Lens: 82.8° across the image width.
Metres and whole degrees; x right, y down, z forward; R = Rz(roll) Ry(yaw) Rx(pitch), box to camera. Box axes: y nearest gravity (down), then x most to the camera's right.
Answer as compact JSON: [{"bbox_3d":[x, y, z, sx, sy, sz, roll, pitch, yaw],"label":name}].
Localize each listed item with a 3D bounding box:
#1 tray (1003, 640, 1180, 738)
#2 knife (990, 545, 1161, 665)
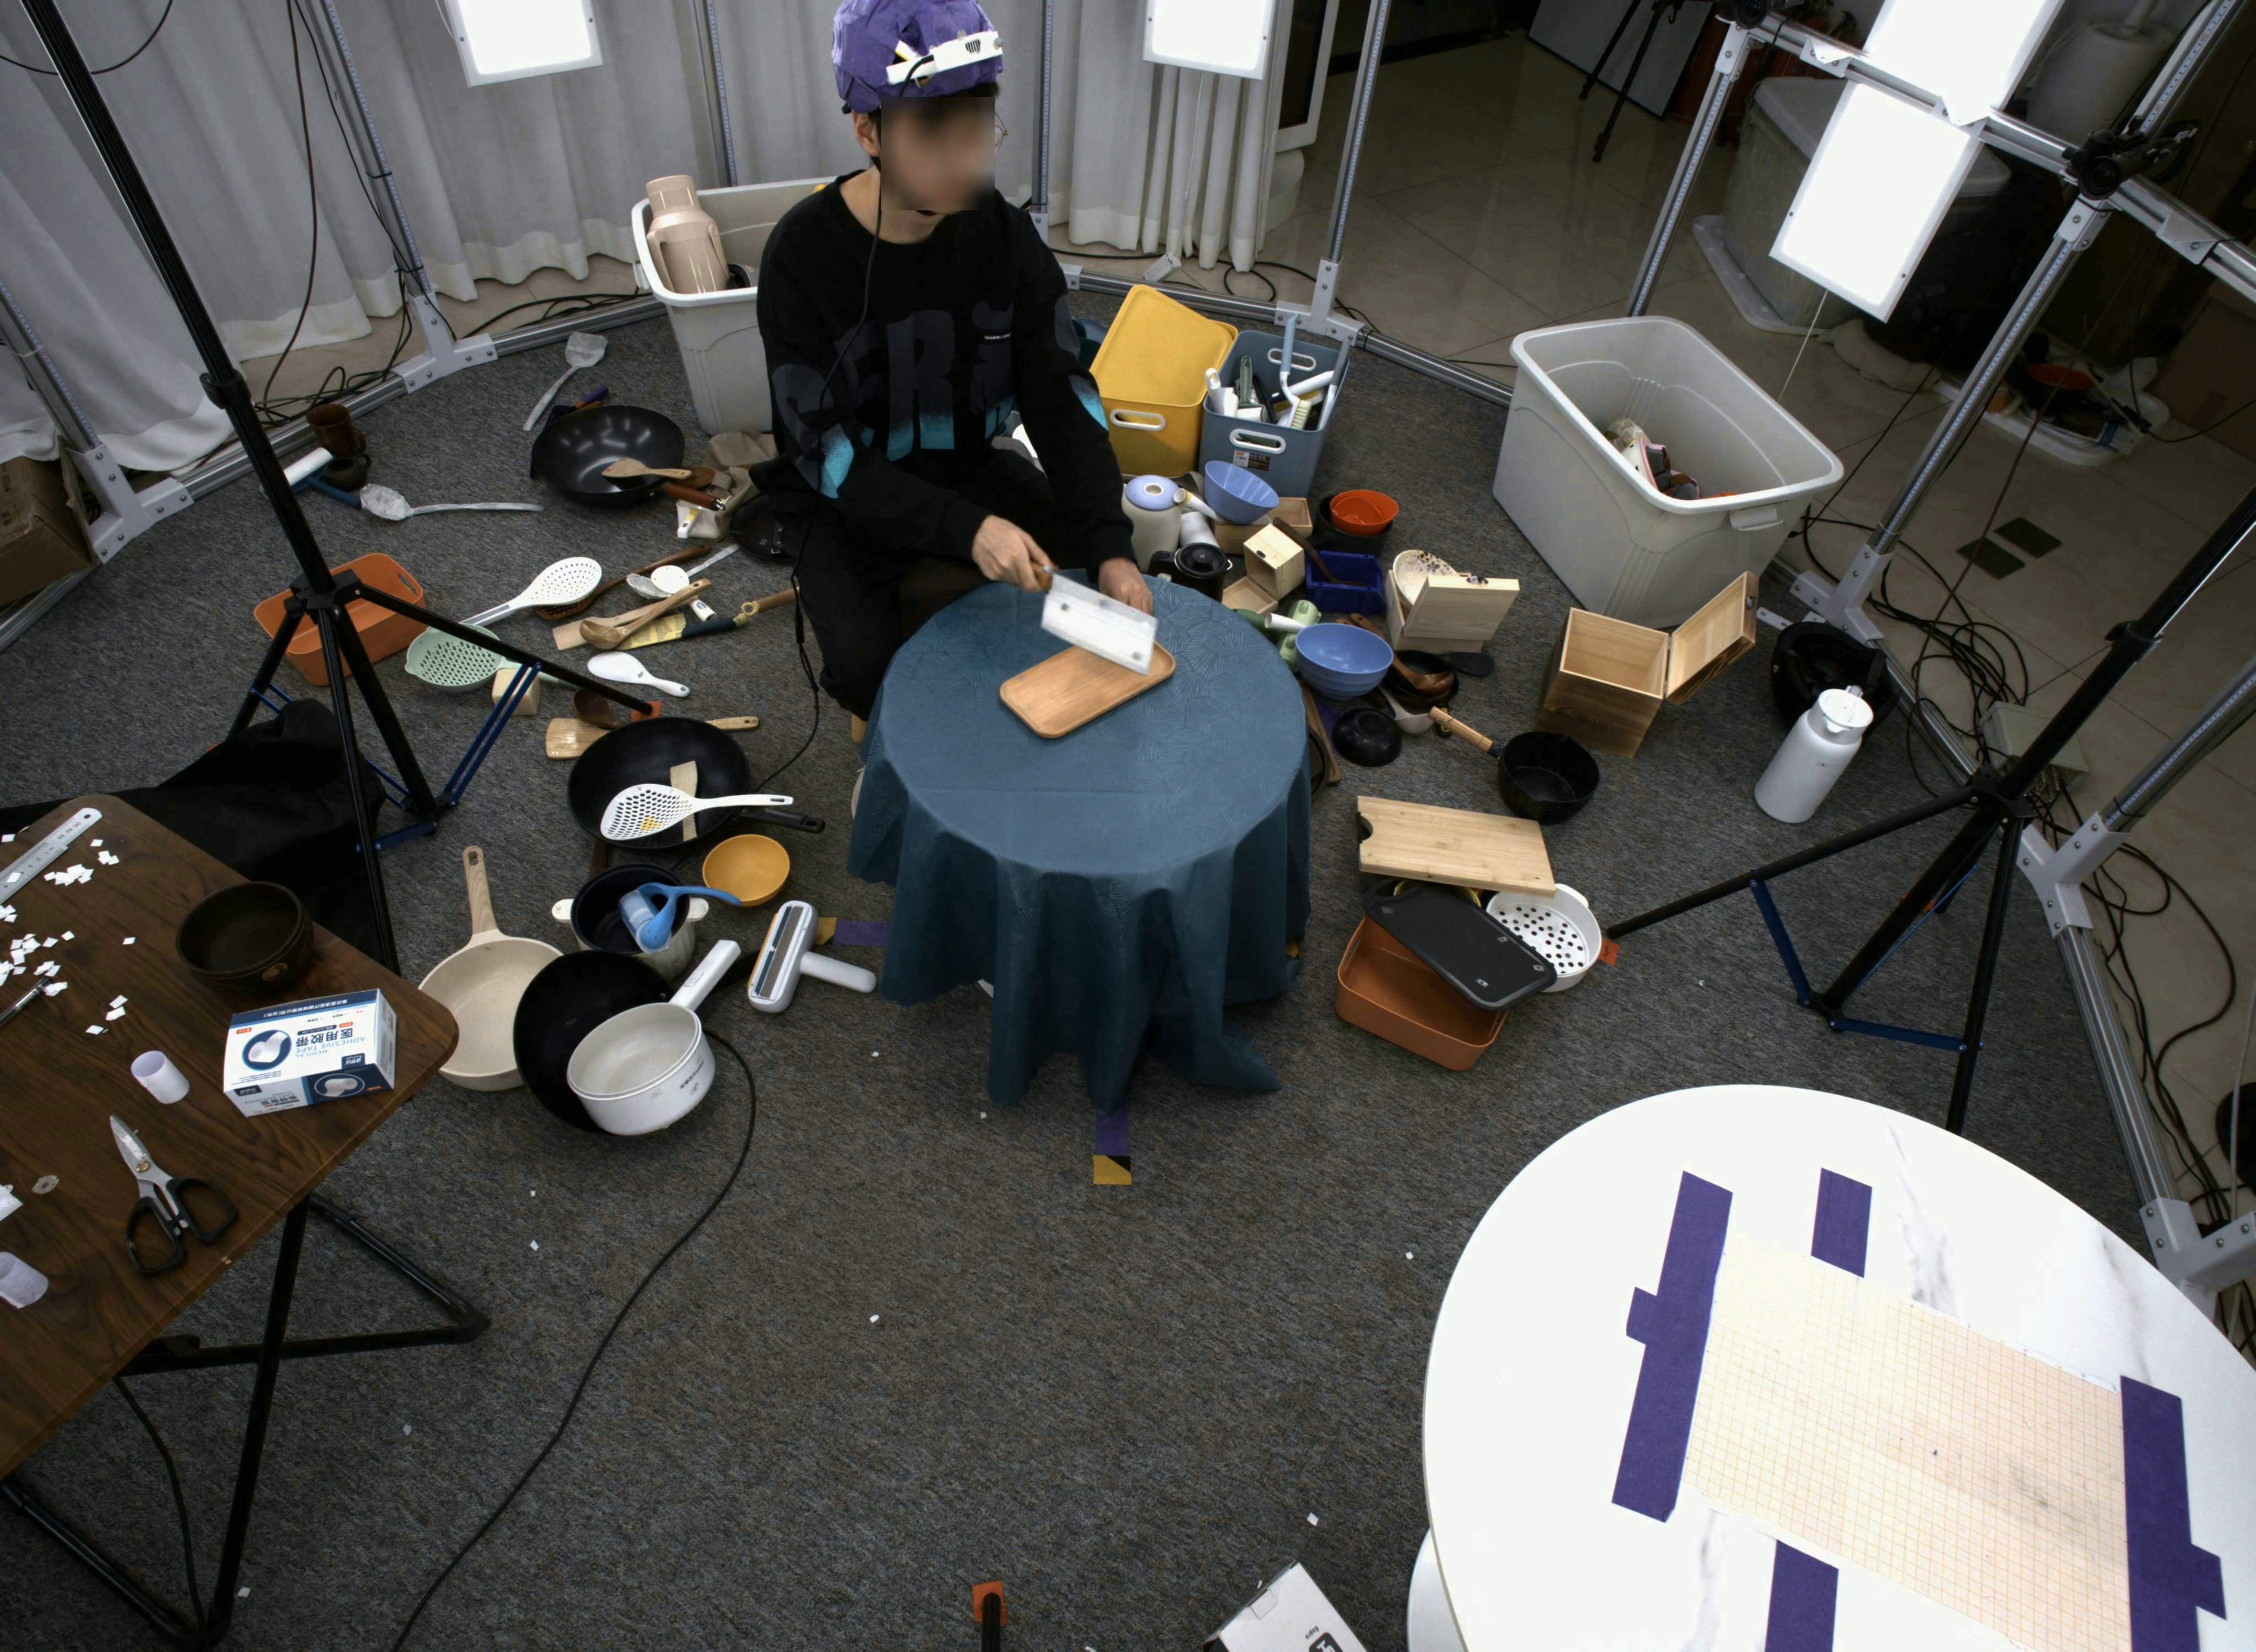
[{"bbox_3d":[-0.050,-0.208,1.836,0.252,0.022,0.133,-29,59,-27],"label":"tray"},{"bbox_3d":[-0.080,-0.311,1.825,0.309,0.091,0.021,29,39,26],"label":"knife"}]
